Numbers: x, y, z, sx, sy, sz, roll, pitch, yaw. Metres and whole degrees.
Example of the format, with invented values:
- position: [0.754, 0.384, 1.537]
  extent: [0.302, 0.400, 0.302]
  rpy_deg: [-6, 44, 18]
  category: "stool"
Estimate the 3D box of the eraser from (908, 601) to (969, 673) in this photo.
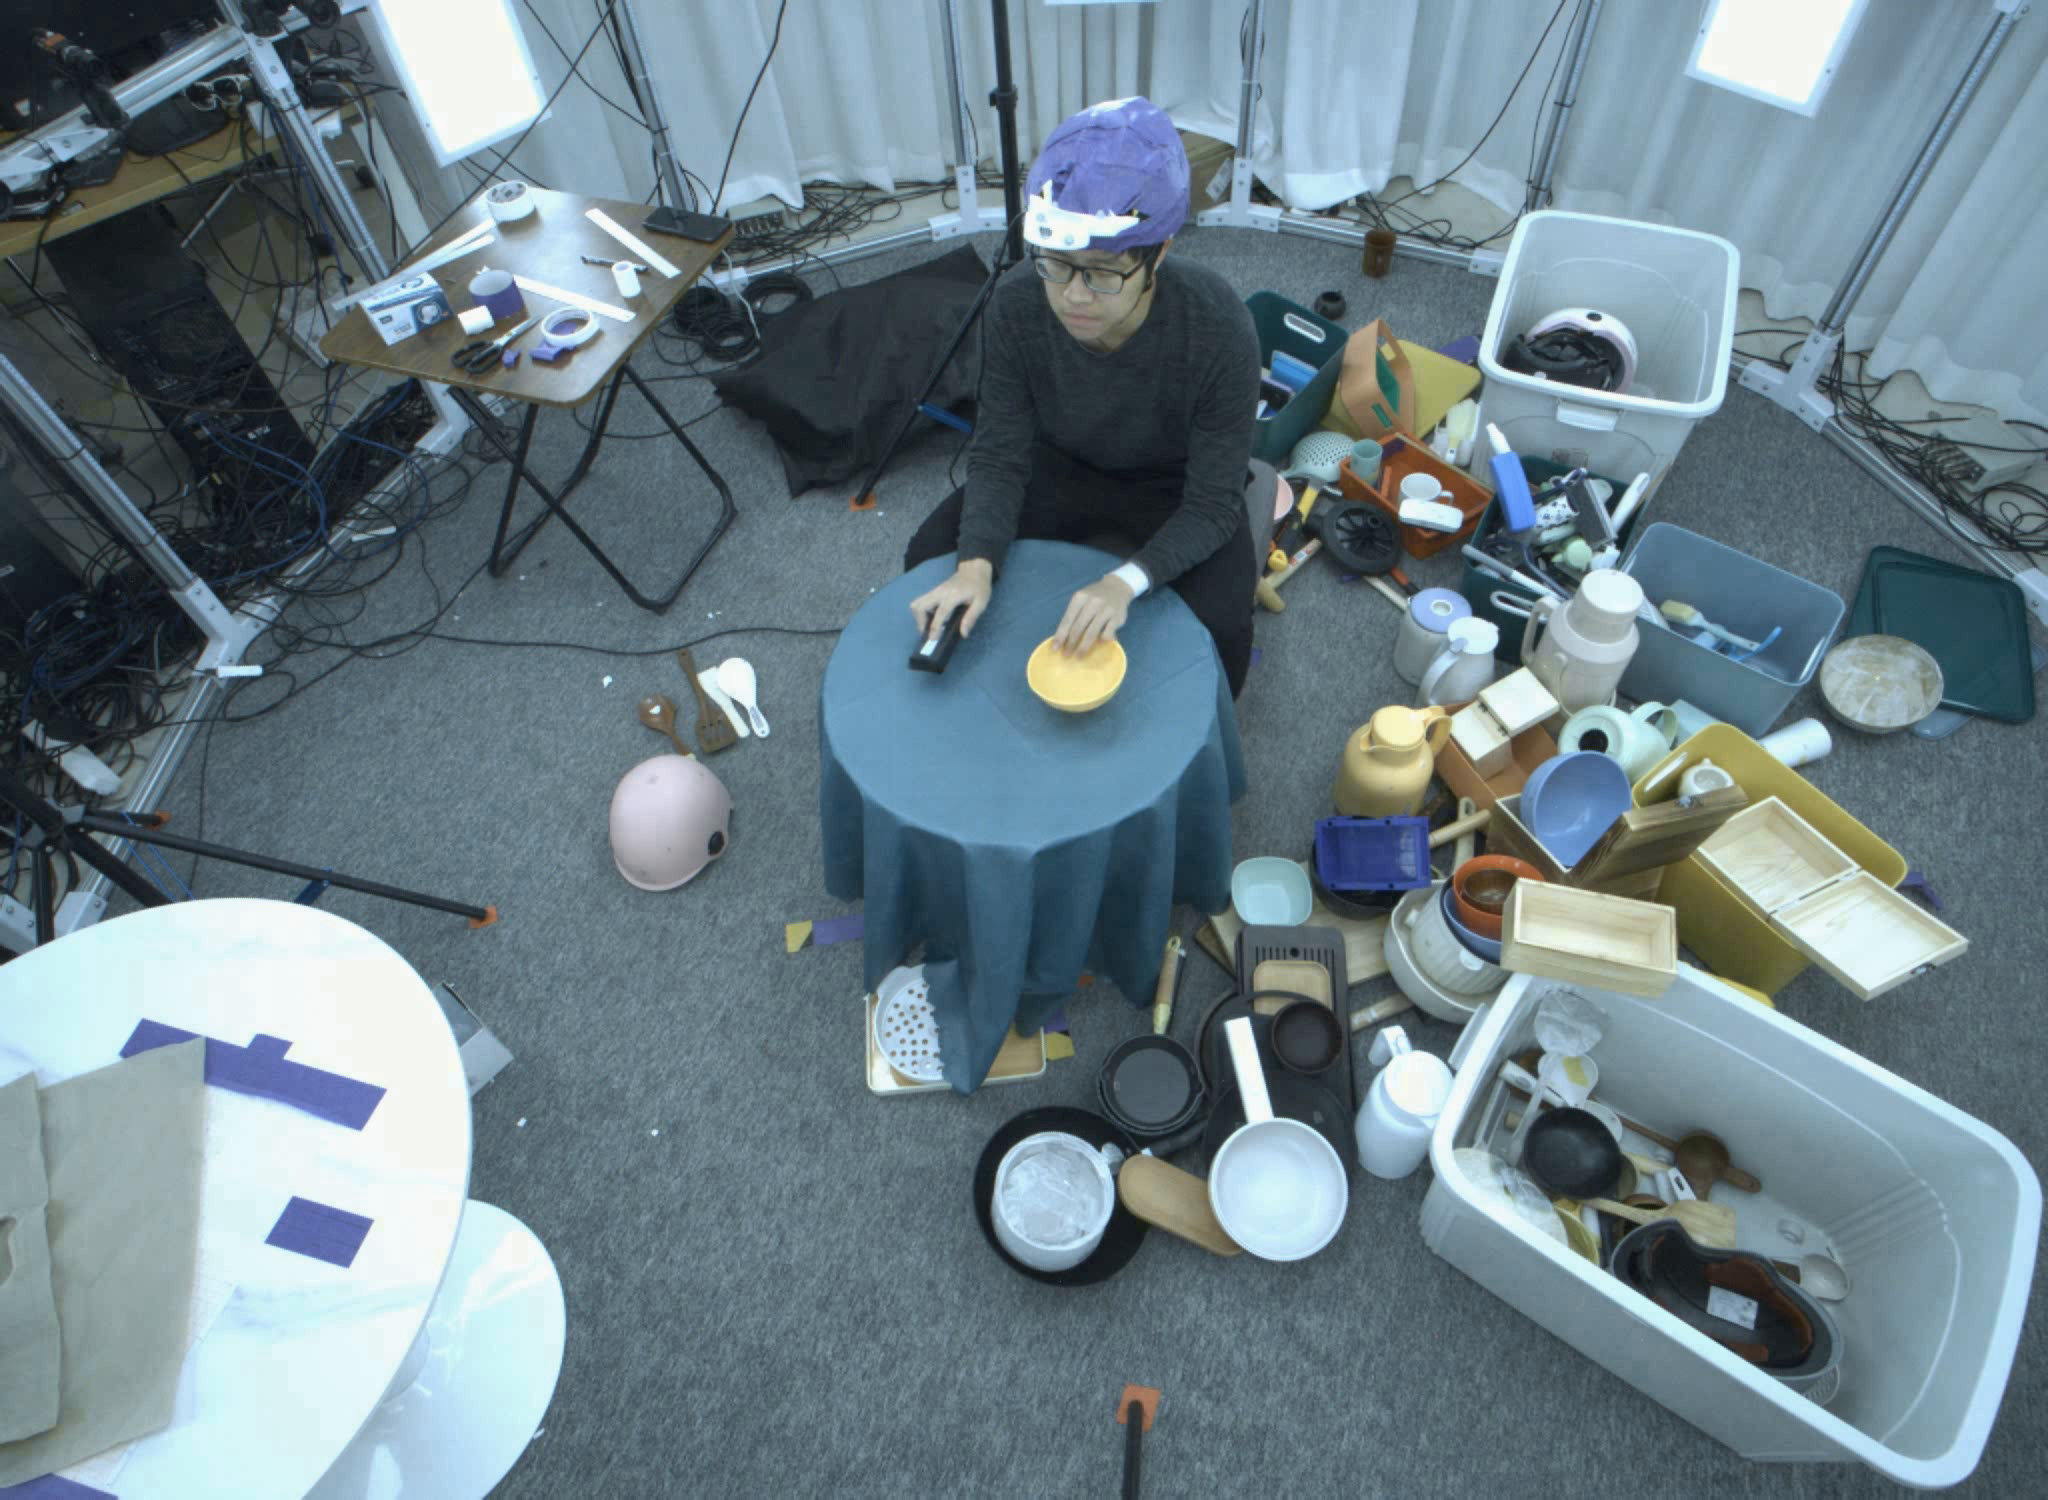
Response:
- position: [-0.128, -0.172, 1.855]
  extent: [0.053, 0.031, 0.125]
  rpy_deg: [9, 54, 17]
  category: "eraser"

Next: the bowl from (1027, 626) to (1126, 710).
- position: [0.079, -0.108, 1.800]
  extent: [0.145, 0.061, 0.144]
  rpy_deg: [-3, 55, 6]
  category: "bowl"
